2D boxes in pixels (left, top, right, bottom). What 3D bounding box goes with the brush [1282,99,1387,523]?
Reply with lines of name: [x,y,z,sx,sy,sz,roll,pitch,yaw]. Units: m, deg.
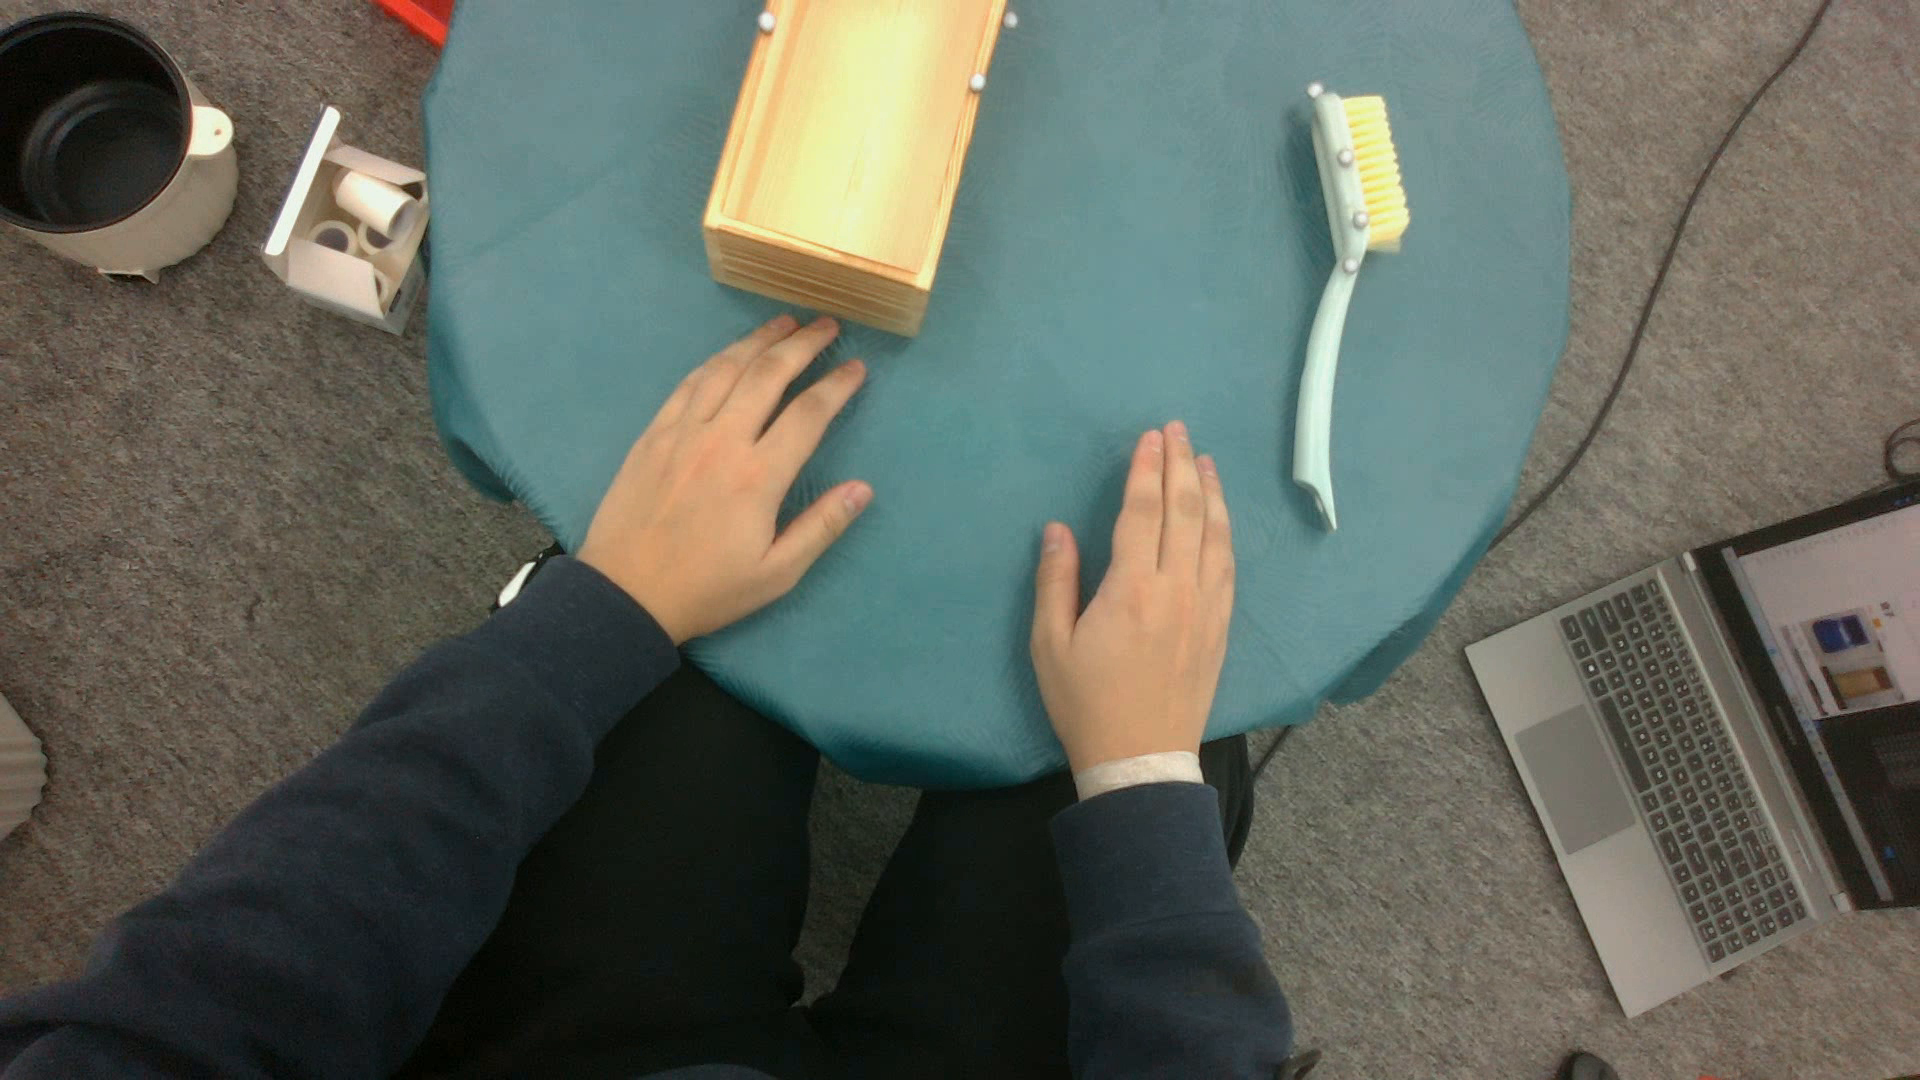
brush: [0.199,-0.123,0.724,0.049,0.038,0.229,0,80,0]

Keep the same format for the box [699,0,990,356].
box: [-0.052,-0.212,0.690,0.107,0.080,0.212,12,79,-4]
